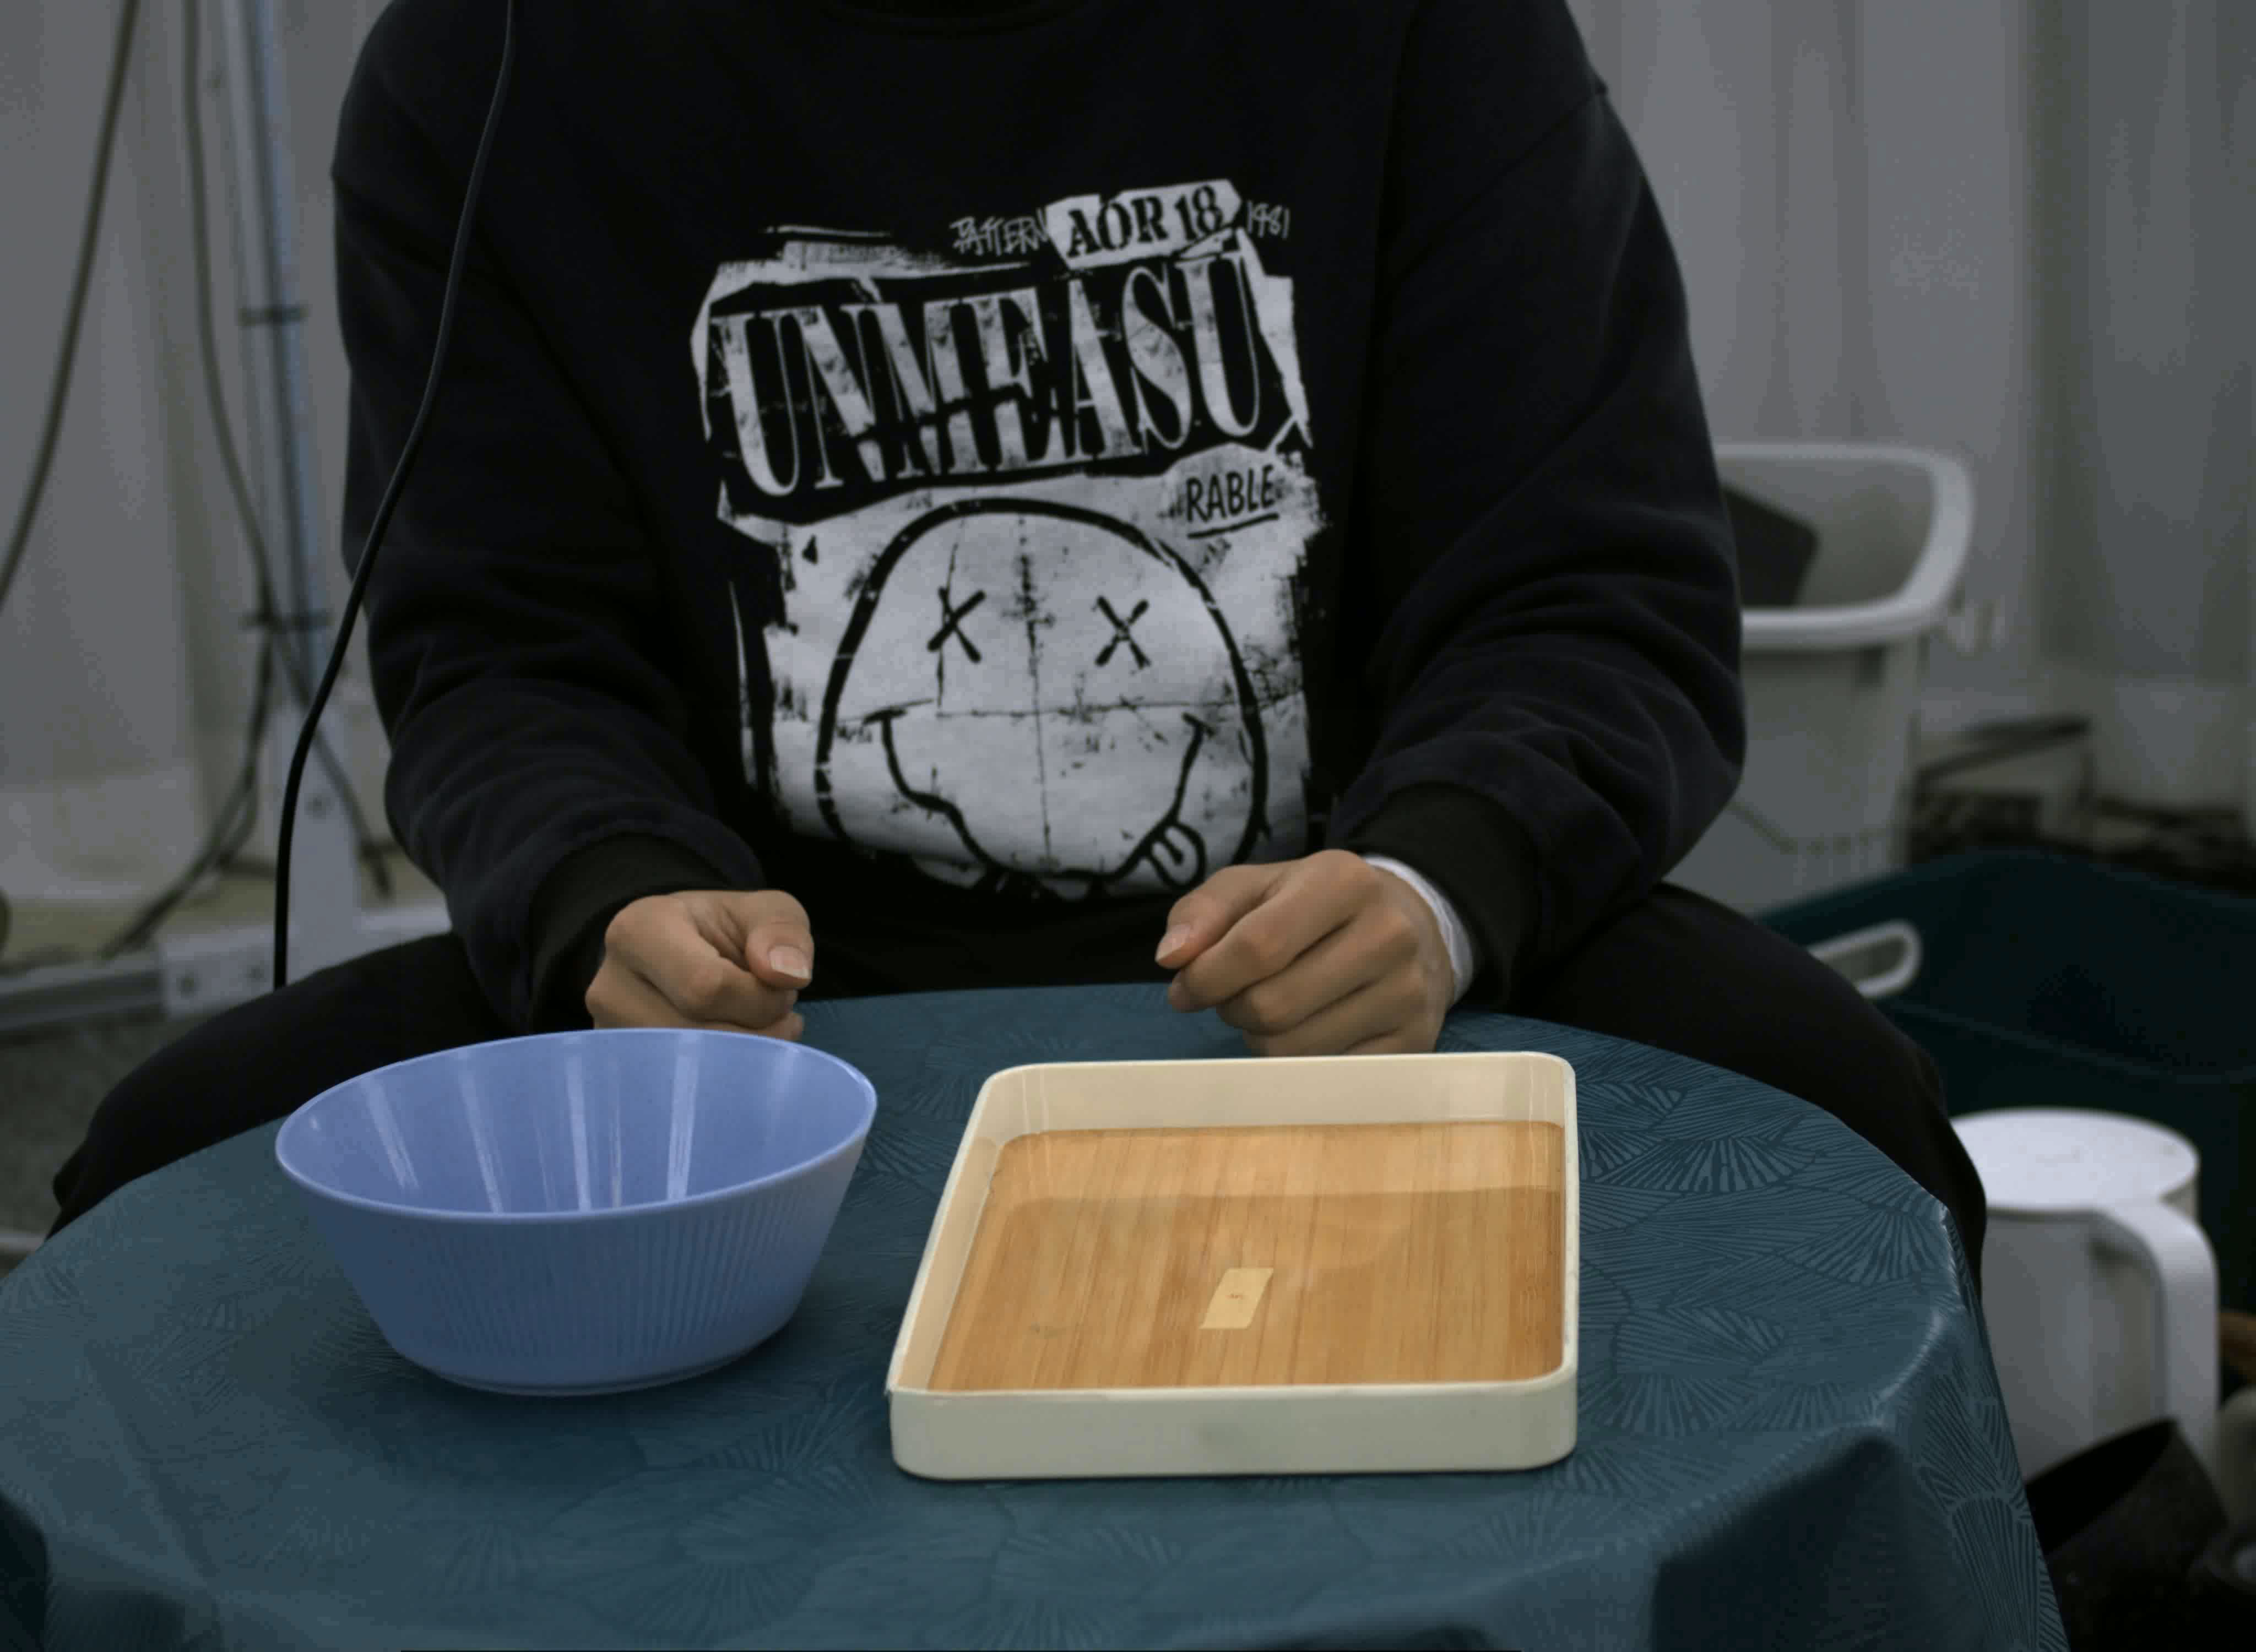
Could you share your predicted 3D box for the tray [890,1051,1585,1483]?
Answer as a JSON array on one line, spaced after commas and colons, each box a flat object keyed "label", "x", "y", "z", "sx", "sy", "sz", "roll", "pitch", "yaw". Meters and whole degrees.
[{"label": "tray", "x": 0.039, "y": 0.126, "z": 1.614, "sx": 0.191, "sy": 0.027, "sz": 0.302, "roll": -2, "pitch": 15, "yaw": 5}]

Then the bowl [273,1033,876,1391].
[{"label": "bowl", "x": -0.161, "y": 0.116, "z": 1.604, "sx": 0.175, "sy": 0.070, "sz": 0.177, "roll": -1, "pitch": 14, "yaw": 0}]
